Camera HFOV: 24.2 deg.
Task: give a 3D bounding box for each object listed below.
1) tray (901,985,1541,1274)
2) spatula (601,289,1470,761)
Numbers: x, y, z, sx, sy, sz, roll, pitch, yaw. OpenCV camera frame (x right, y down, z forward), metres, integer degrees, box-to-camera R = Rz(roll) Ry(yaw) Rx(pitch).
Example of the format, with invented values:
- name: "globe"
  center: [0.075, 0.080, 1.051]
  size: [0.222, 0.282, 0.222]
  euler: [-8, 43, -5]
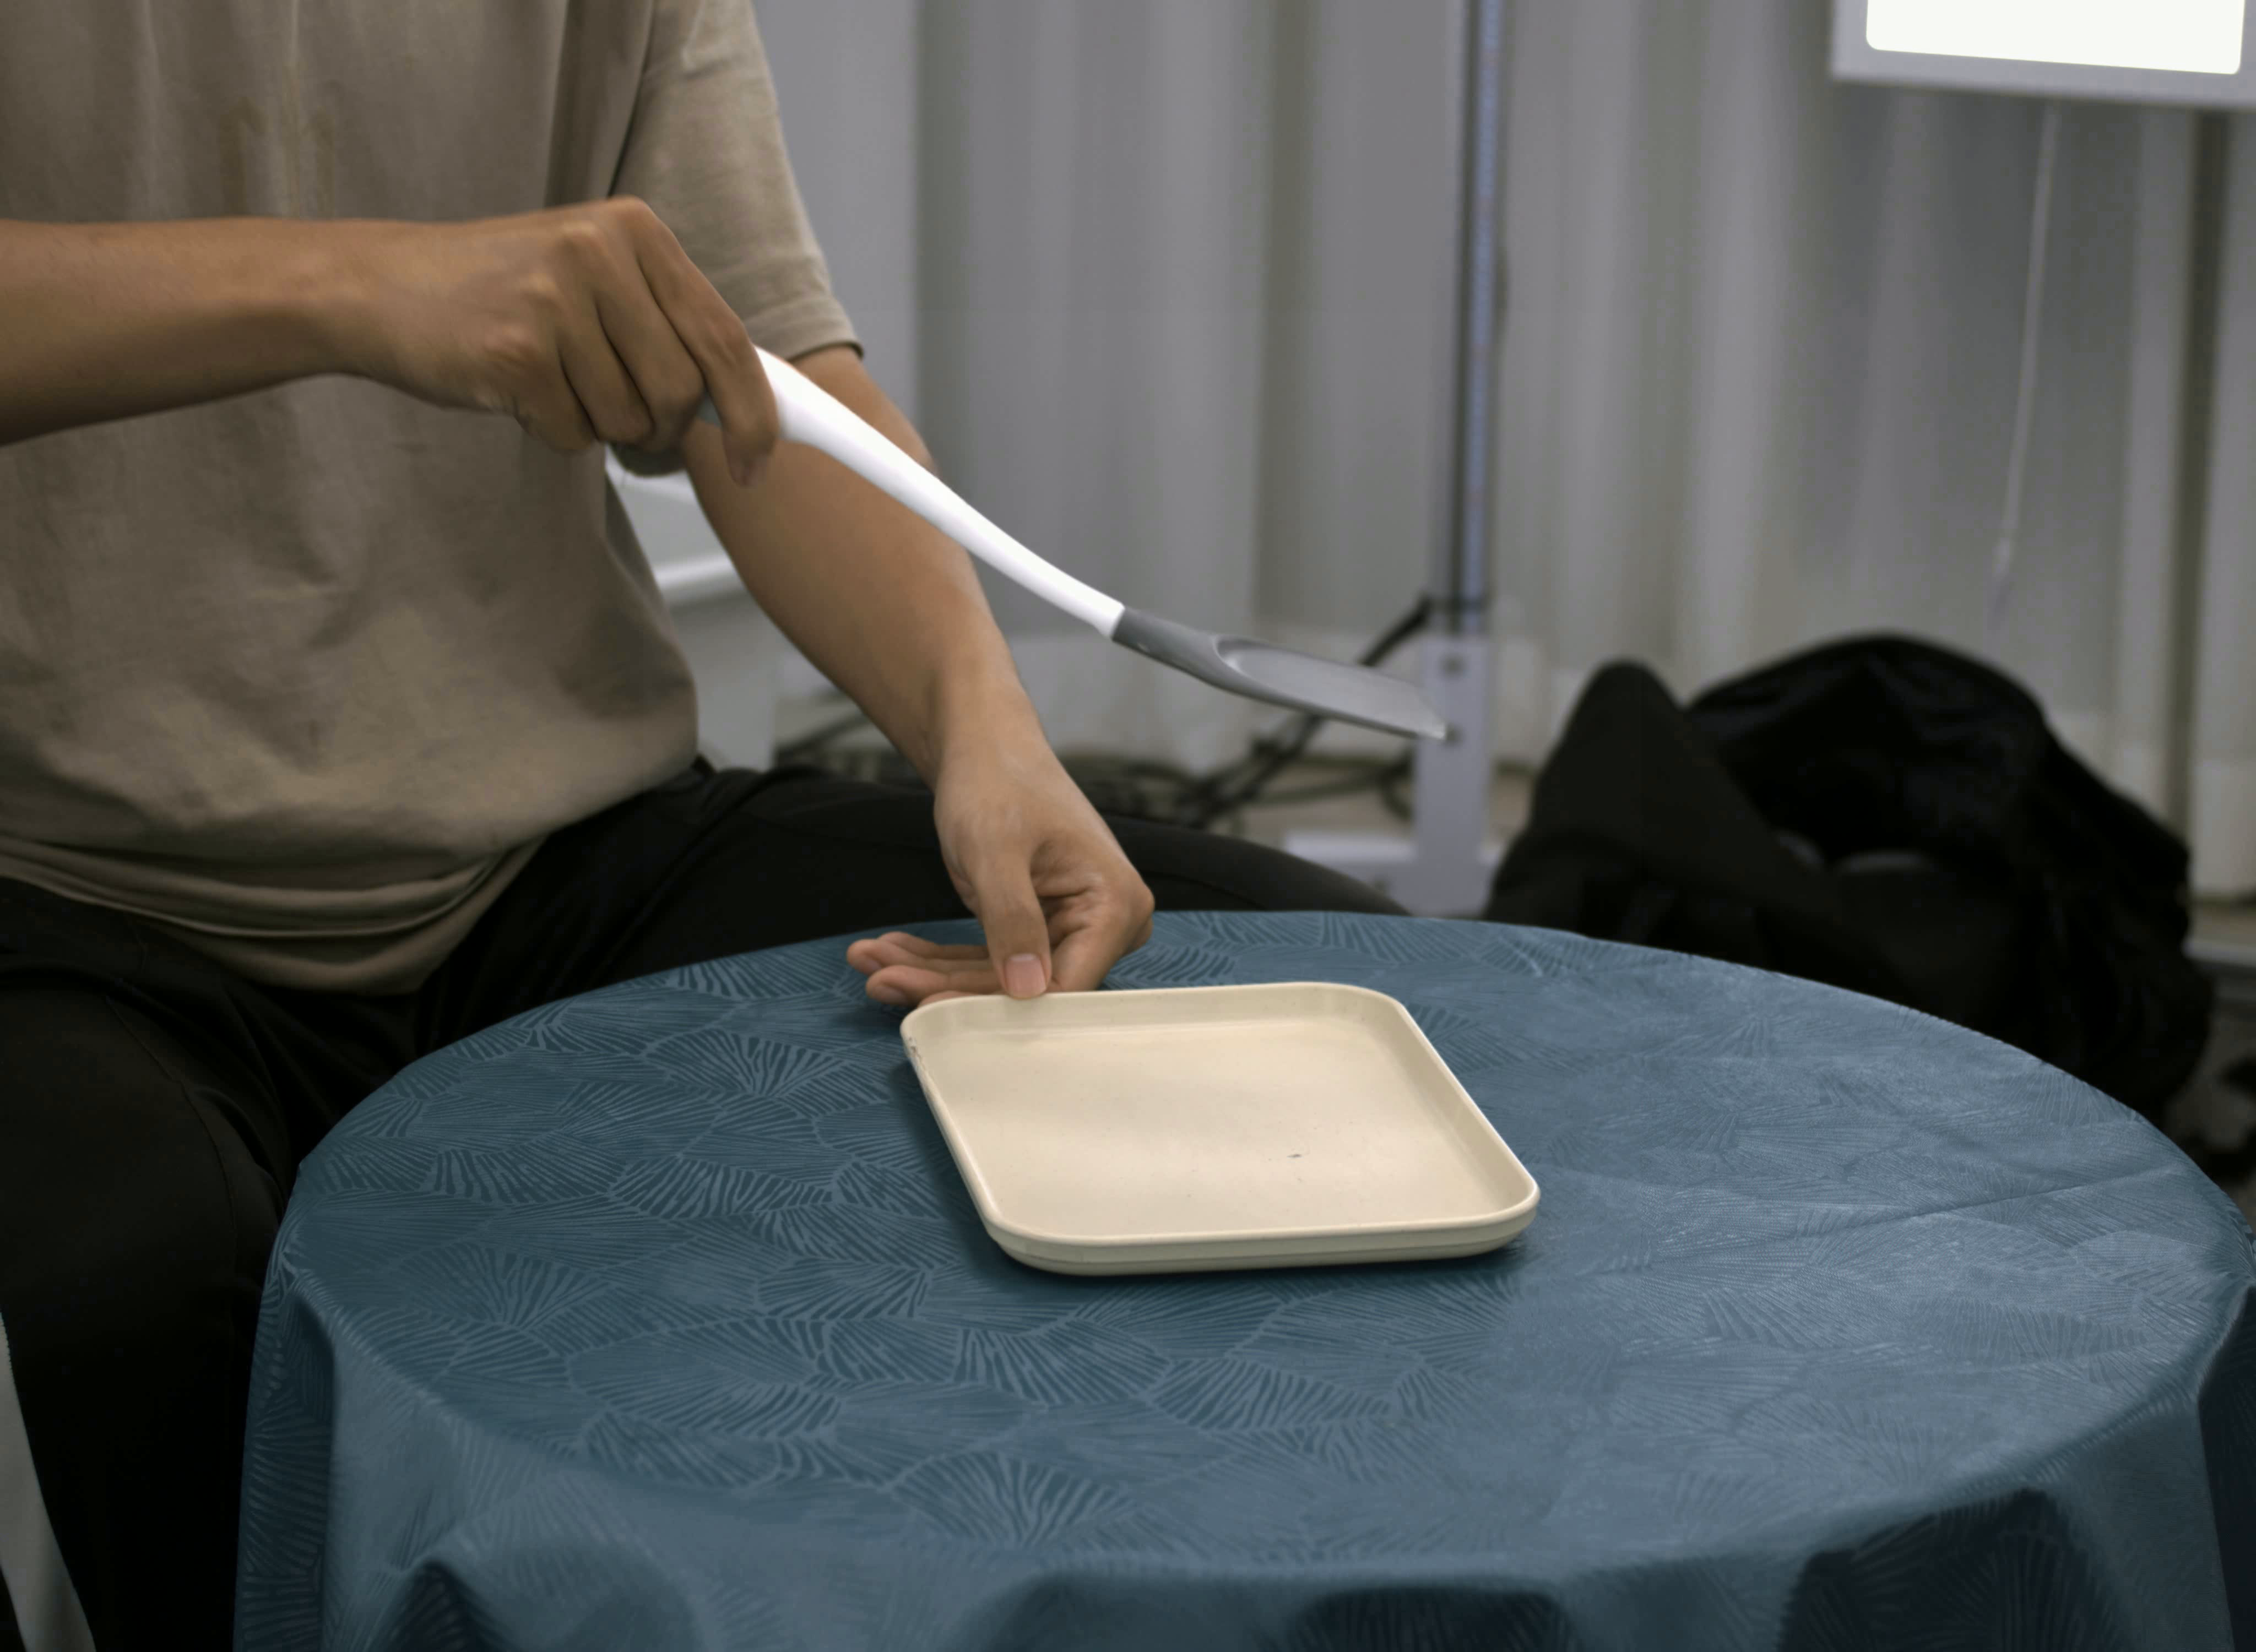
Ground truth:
- name: "tray"
  center: [0.025, 0.094, 1.658]
  size: [0.171, 0.017, 0.237]
  euler: [-1, 16, -11]
- name: "spatula"
  center: [-0.027, -0.085, 1.615]
  size: [0.287, 0.032, 0.058]
  euler: [27, 16, -3]
